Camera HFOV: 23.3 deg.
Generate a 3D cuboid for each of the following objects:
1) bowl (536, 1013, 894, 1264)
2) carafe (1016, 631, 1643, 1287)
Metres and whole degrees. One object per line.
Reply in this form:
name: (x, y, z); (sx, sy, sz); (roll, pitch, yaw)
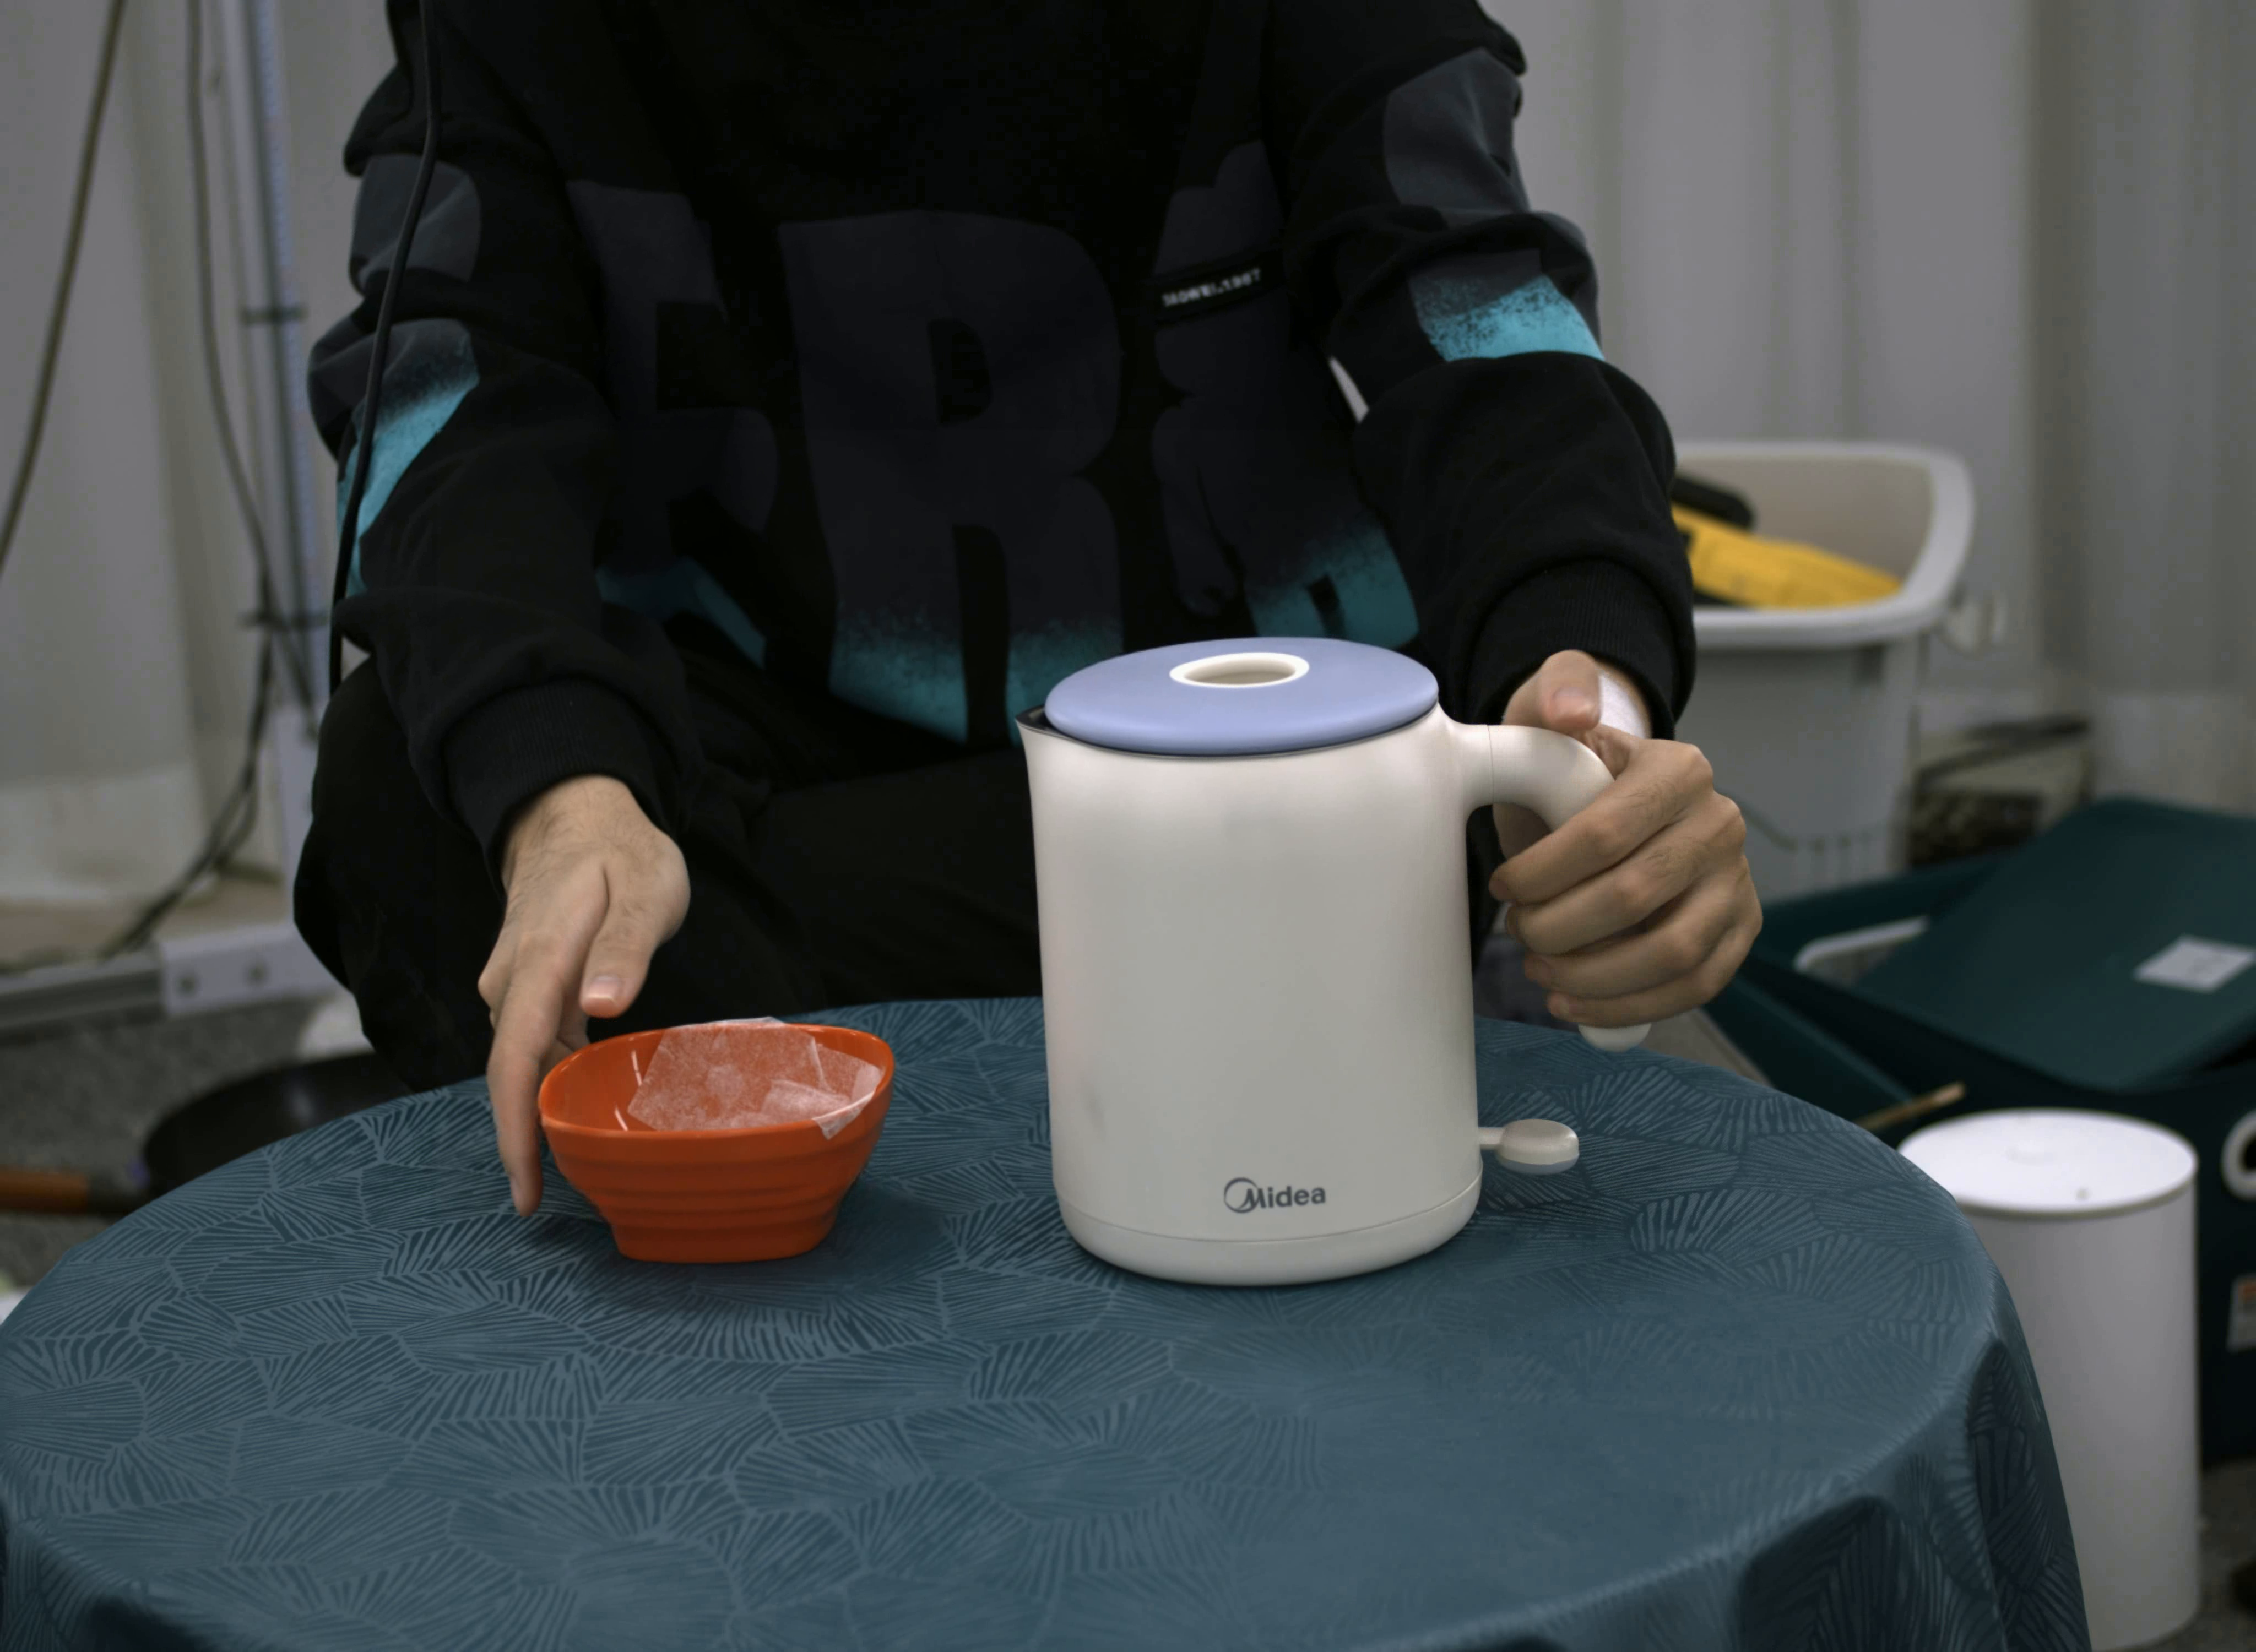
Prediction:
bowl: (-0.125, 0.099, 1.693); (0.118, 0.051, 0.120); (-5, 17, 1)
carafe: (0.062, 0.038, 1.660); (0.190, 0.182, 0.133); (-1, 15, -2)
